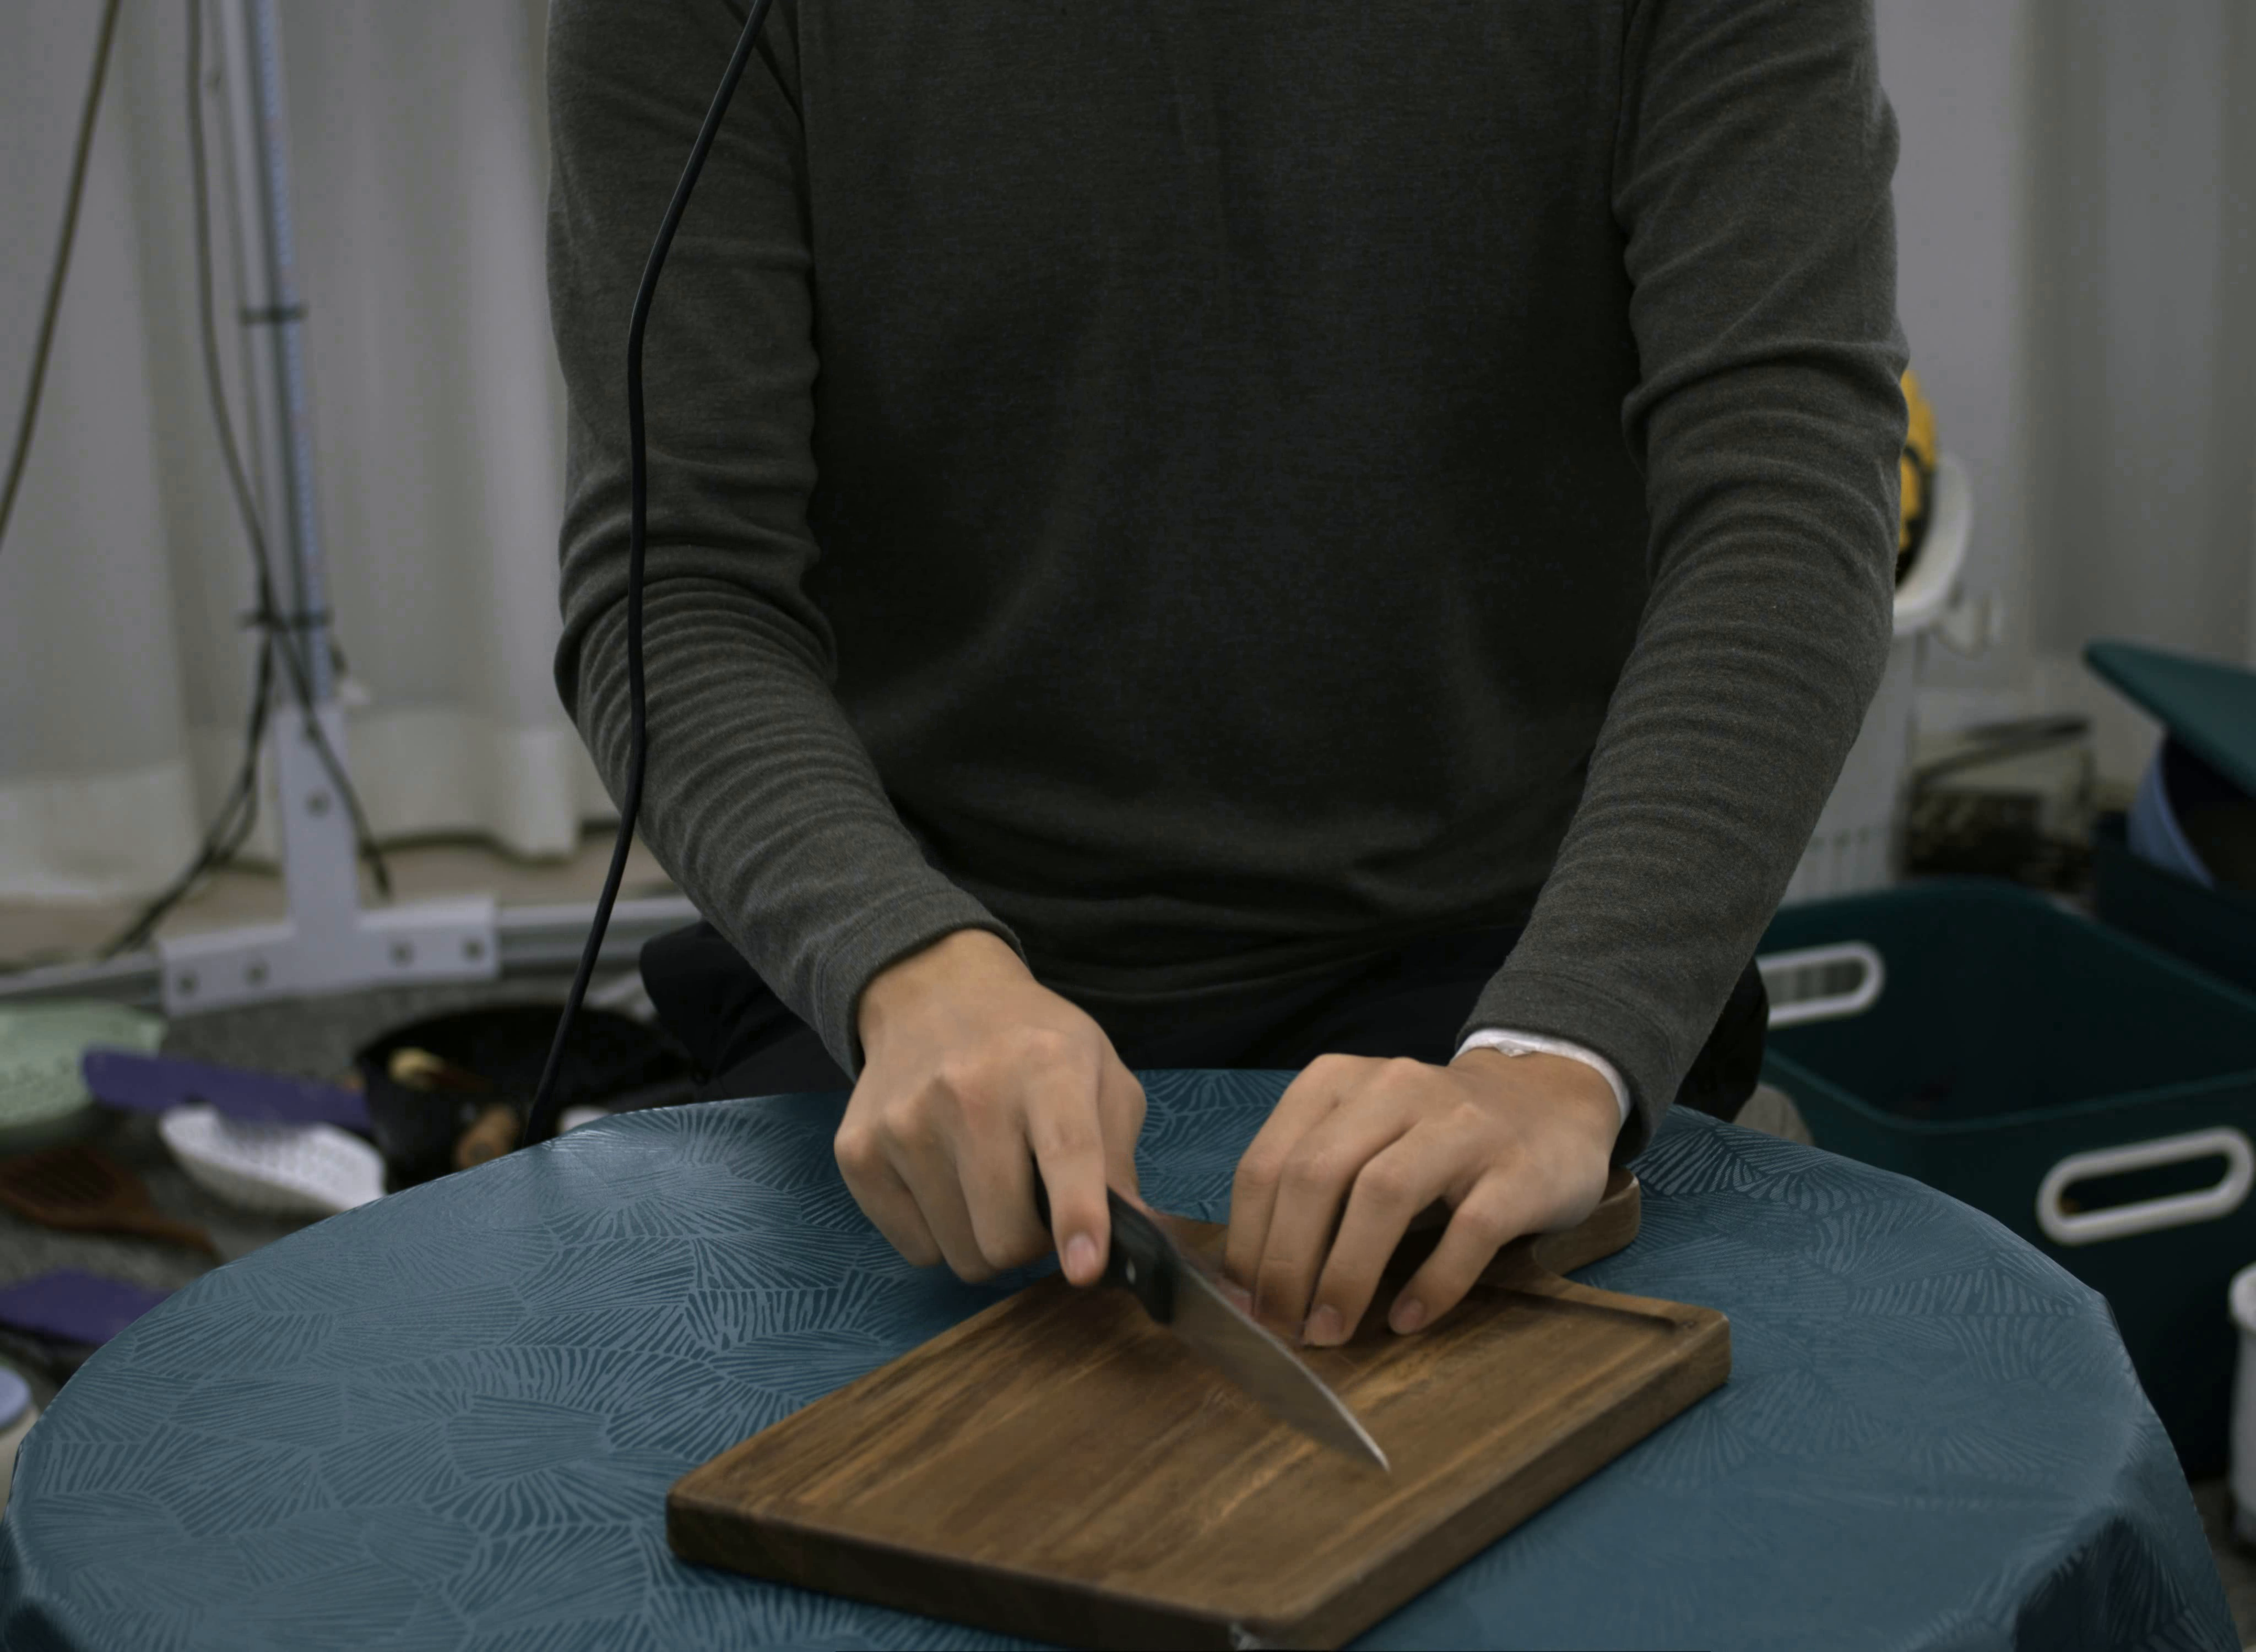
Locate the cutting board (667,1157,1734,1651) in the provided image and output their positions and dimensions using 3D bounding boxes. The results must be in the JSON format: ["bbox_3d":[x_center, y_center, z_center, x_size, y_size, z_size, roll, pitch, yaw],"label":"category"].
[{"bbox_3d":[0.051,0.152,1.526,0.202,0.023,0.352,7,17,32],"label":"cutting board"}]

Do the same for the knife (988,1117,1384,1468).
[{"bbox_3d":[0.015,0.127,1.511,0.016,0.024,0.240,-11,22,-23],"label":"knife"}]
